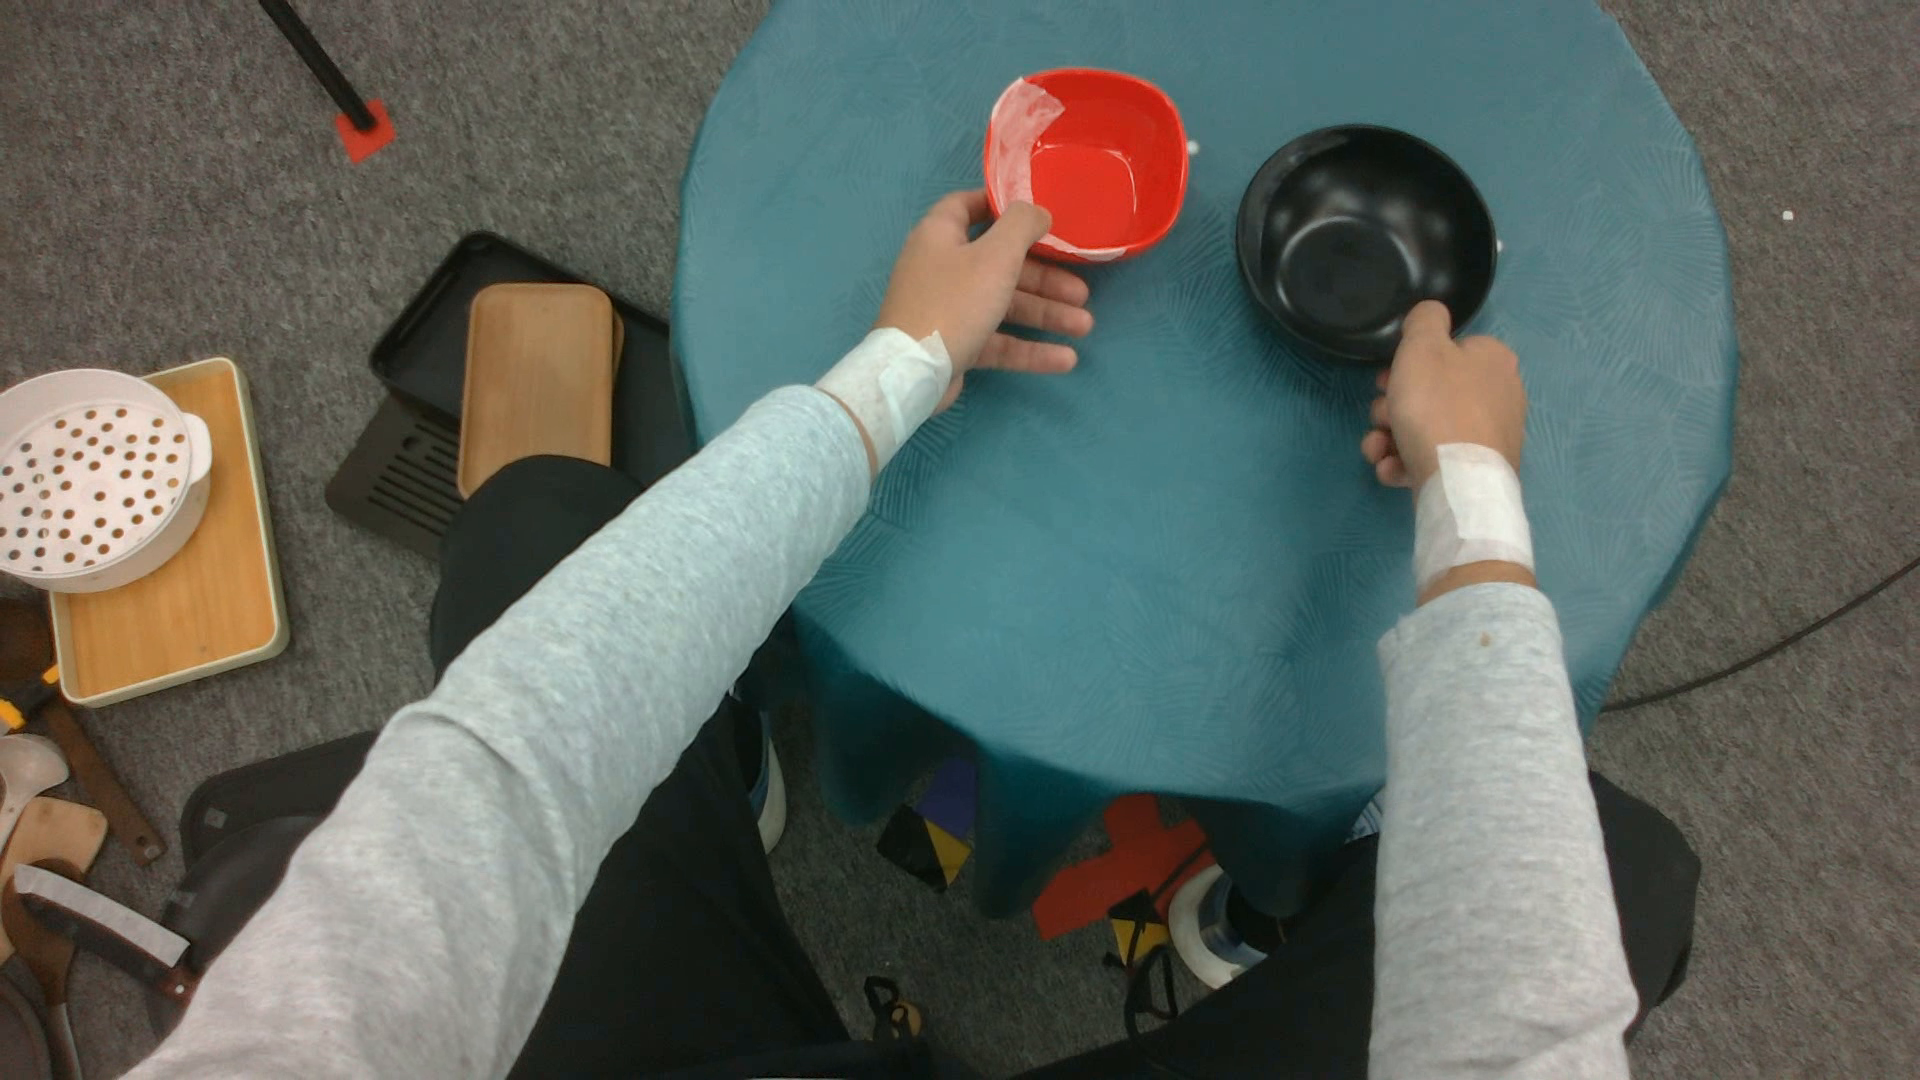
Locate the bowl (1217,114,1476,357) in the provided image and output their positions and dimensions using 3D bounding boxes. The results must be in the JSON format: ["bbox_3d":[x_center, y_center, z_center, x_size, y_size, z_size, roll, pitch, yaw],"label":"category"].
[{"bbox_3d":[0.207,-0.161,0.760,0.140,0.049,0.140,0,77,-1],"label":"bowl"}]

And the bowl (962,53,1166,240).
[{"bbox_3d":[0.055,-0.208,0.761,0.119,0.051,0.119,1,69,-4],"label":"bowl"}]
